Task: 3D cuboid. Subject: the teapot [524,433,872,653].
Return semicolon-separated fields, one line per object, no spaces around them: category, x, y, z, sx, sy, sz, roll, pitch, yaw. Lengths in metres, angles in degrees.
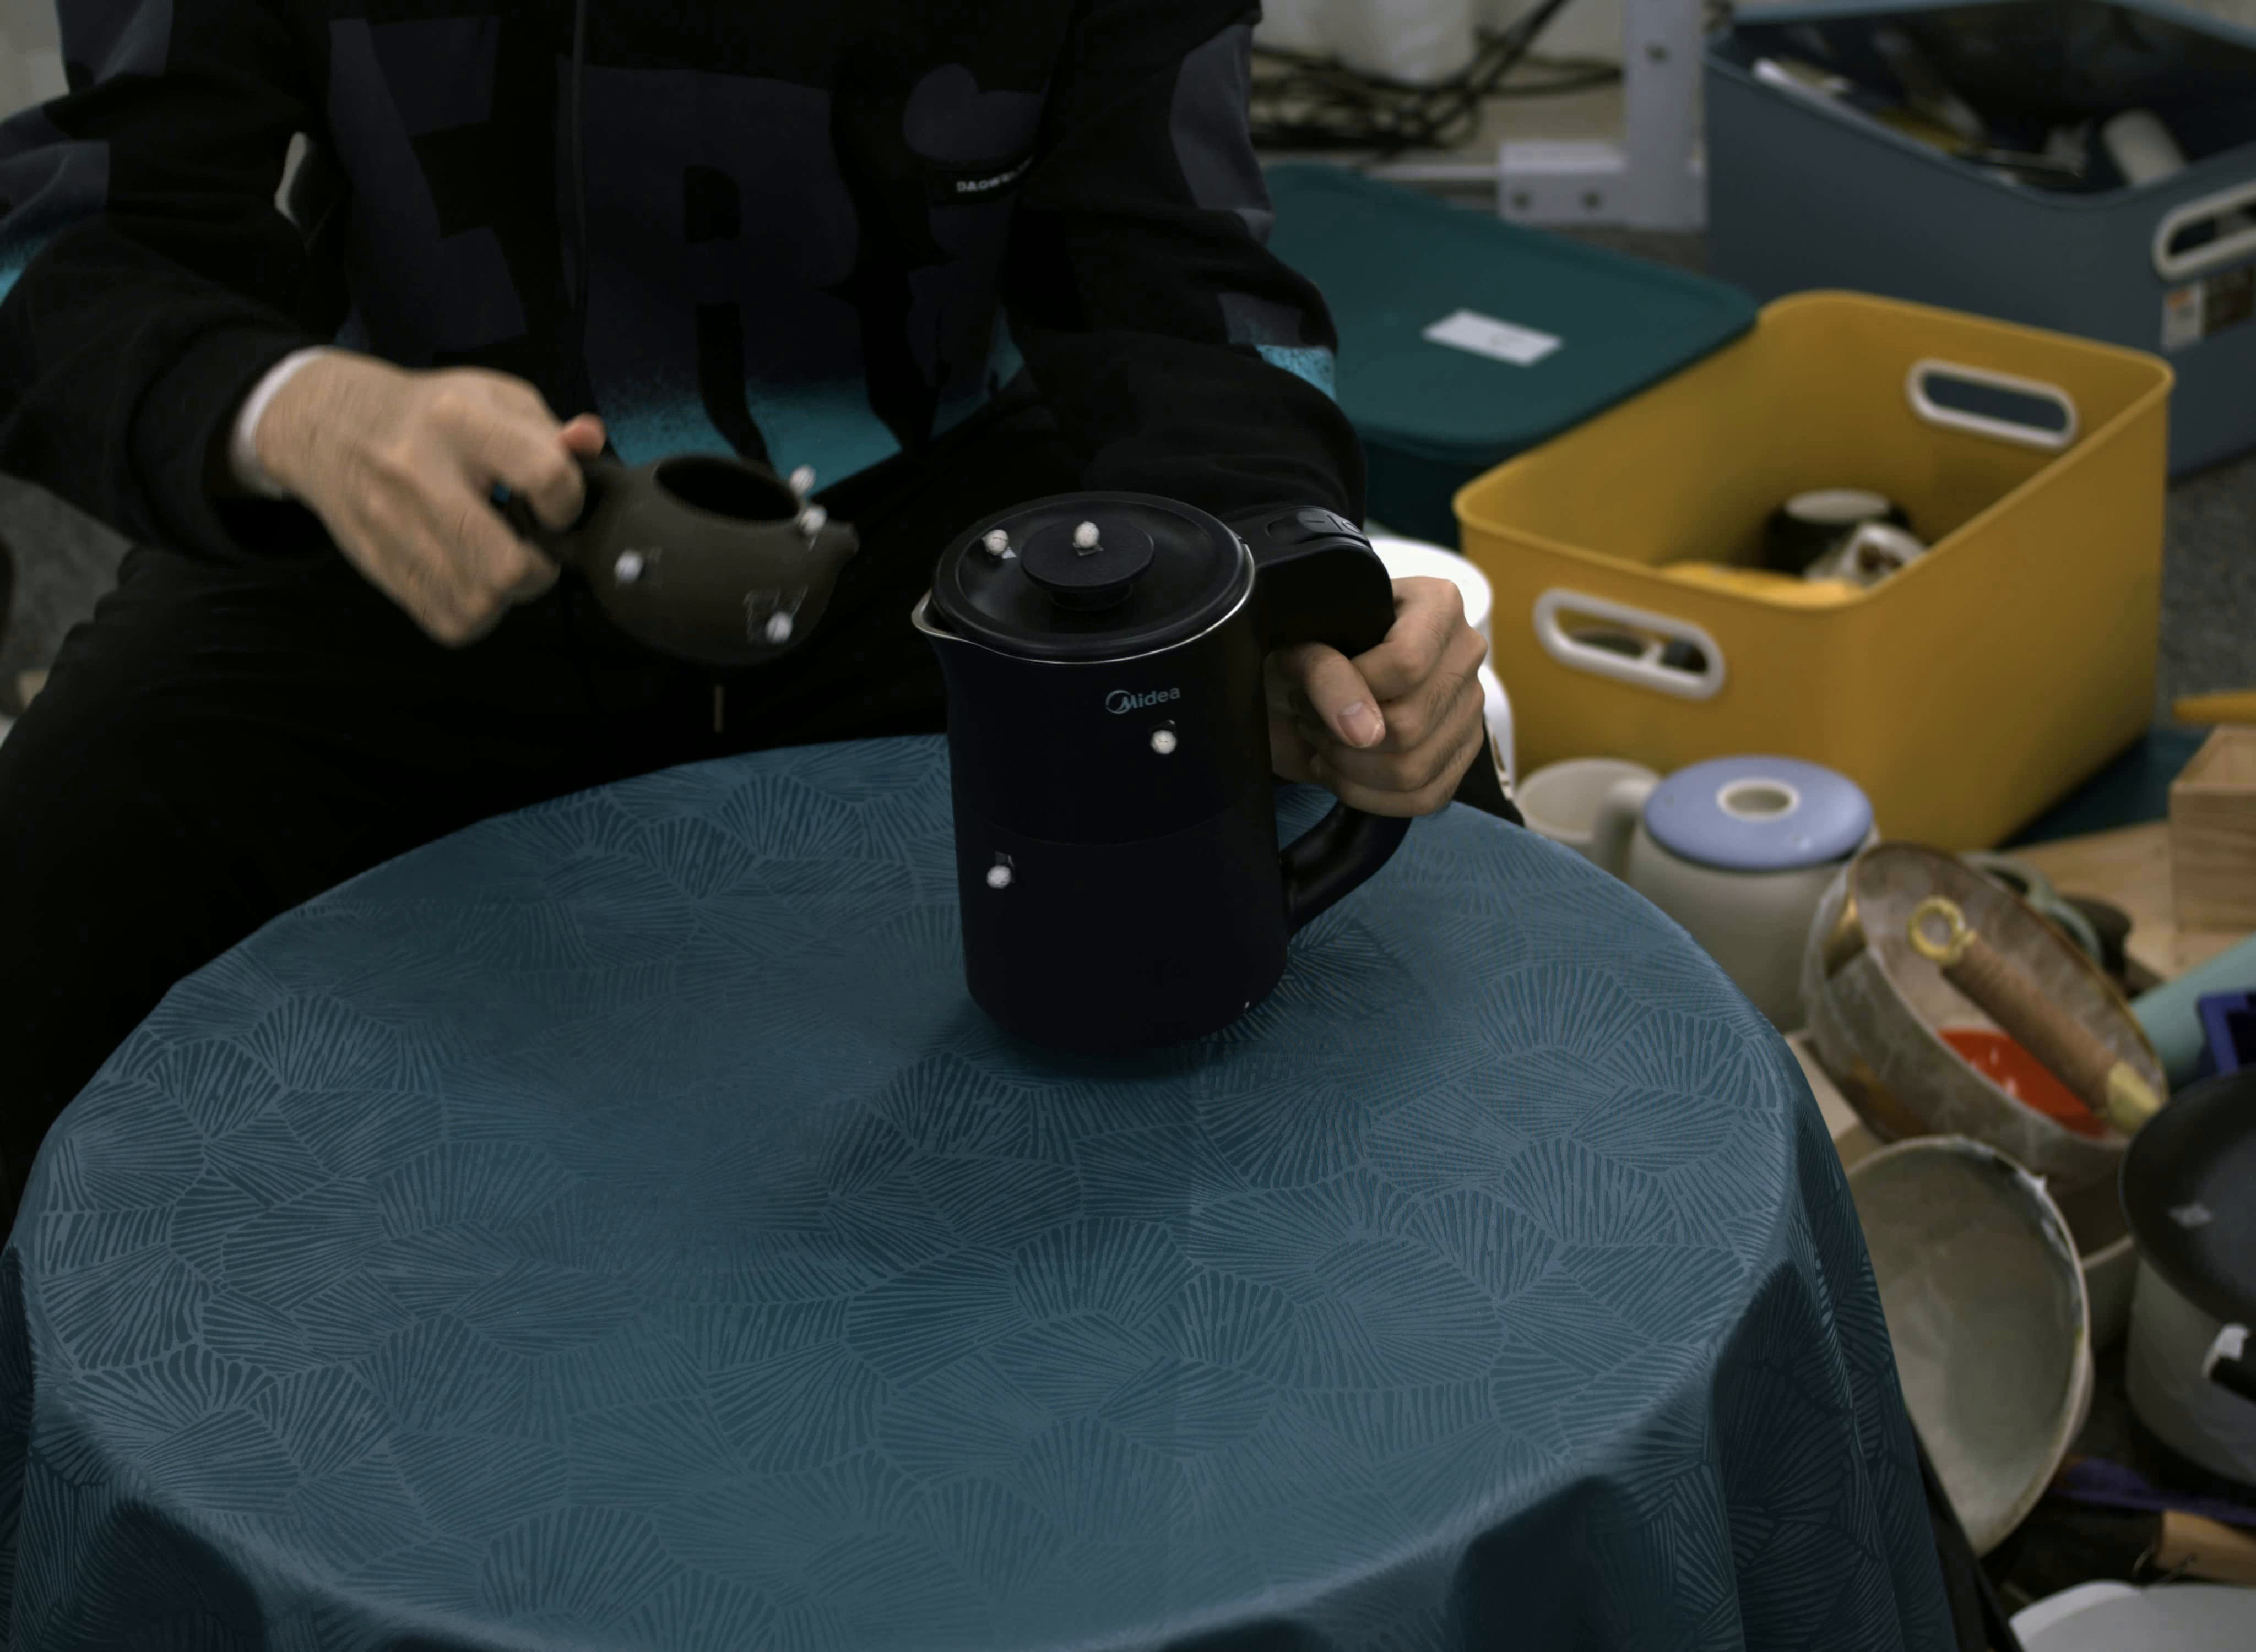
teapot;-0.143;-0.096;1.849;0.114;0.052;0.084;21;22;0

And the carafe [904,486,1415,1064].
carafe;0.013;-0.029;1.926;0.172;0.171;0.115;-17;32;-16
